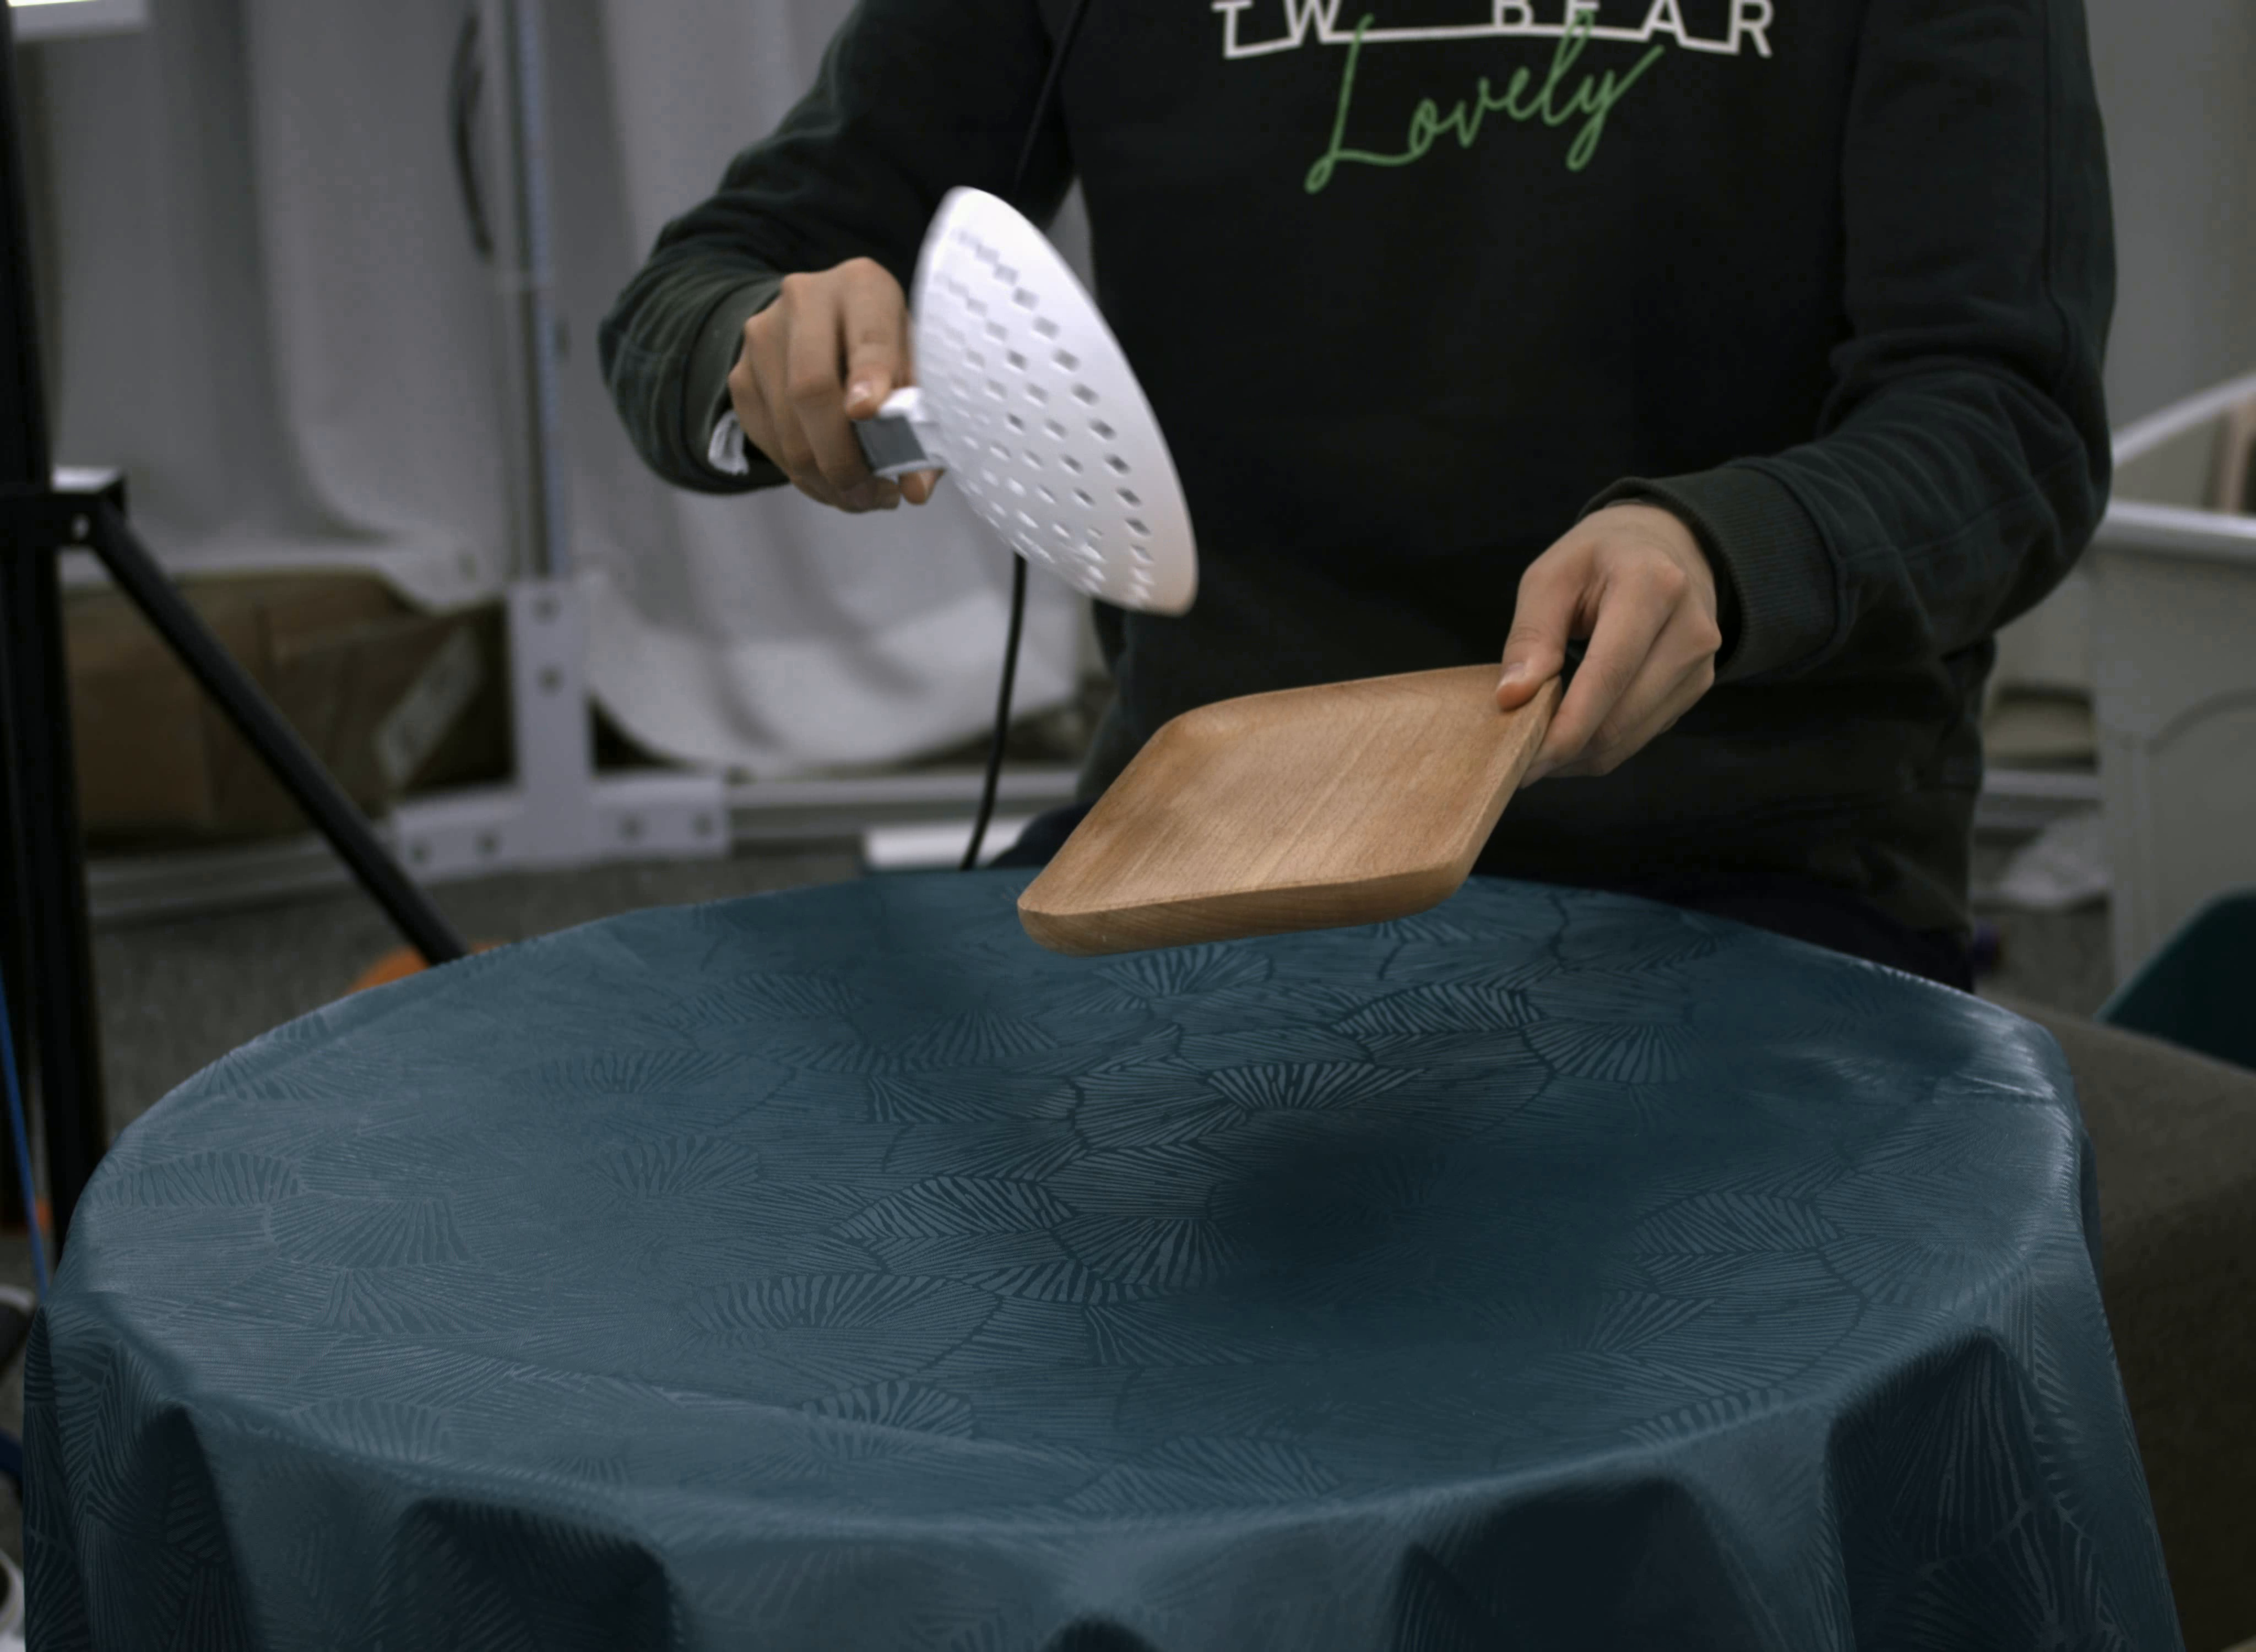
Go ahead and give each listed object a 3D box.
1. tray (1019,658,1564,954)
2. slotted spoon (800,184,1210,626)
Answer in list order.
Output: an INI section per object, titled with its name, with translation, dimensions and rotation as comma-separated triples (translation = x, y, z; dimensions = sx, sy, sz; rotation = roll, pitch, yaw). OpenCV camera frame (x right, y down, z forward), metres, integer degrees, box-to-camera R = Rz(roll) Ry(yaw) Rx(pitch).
[tray]
translation = 0.052, -0.008, 1.538
dimensions = 0.131, 0.023, 0.249
rotation = -5, 13, 14
[slotted spoon]
translation = -0.049, -0.123, 1.646
dimensions = 0.045, 0.136, 0.353
rotation = -23, 9, -11
